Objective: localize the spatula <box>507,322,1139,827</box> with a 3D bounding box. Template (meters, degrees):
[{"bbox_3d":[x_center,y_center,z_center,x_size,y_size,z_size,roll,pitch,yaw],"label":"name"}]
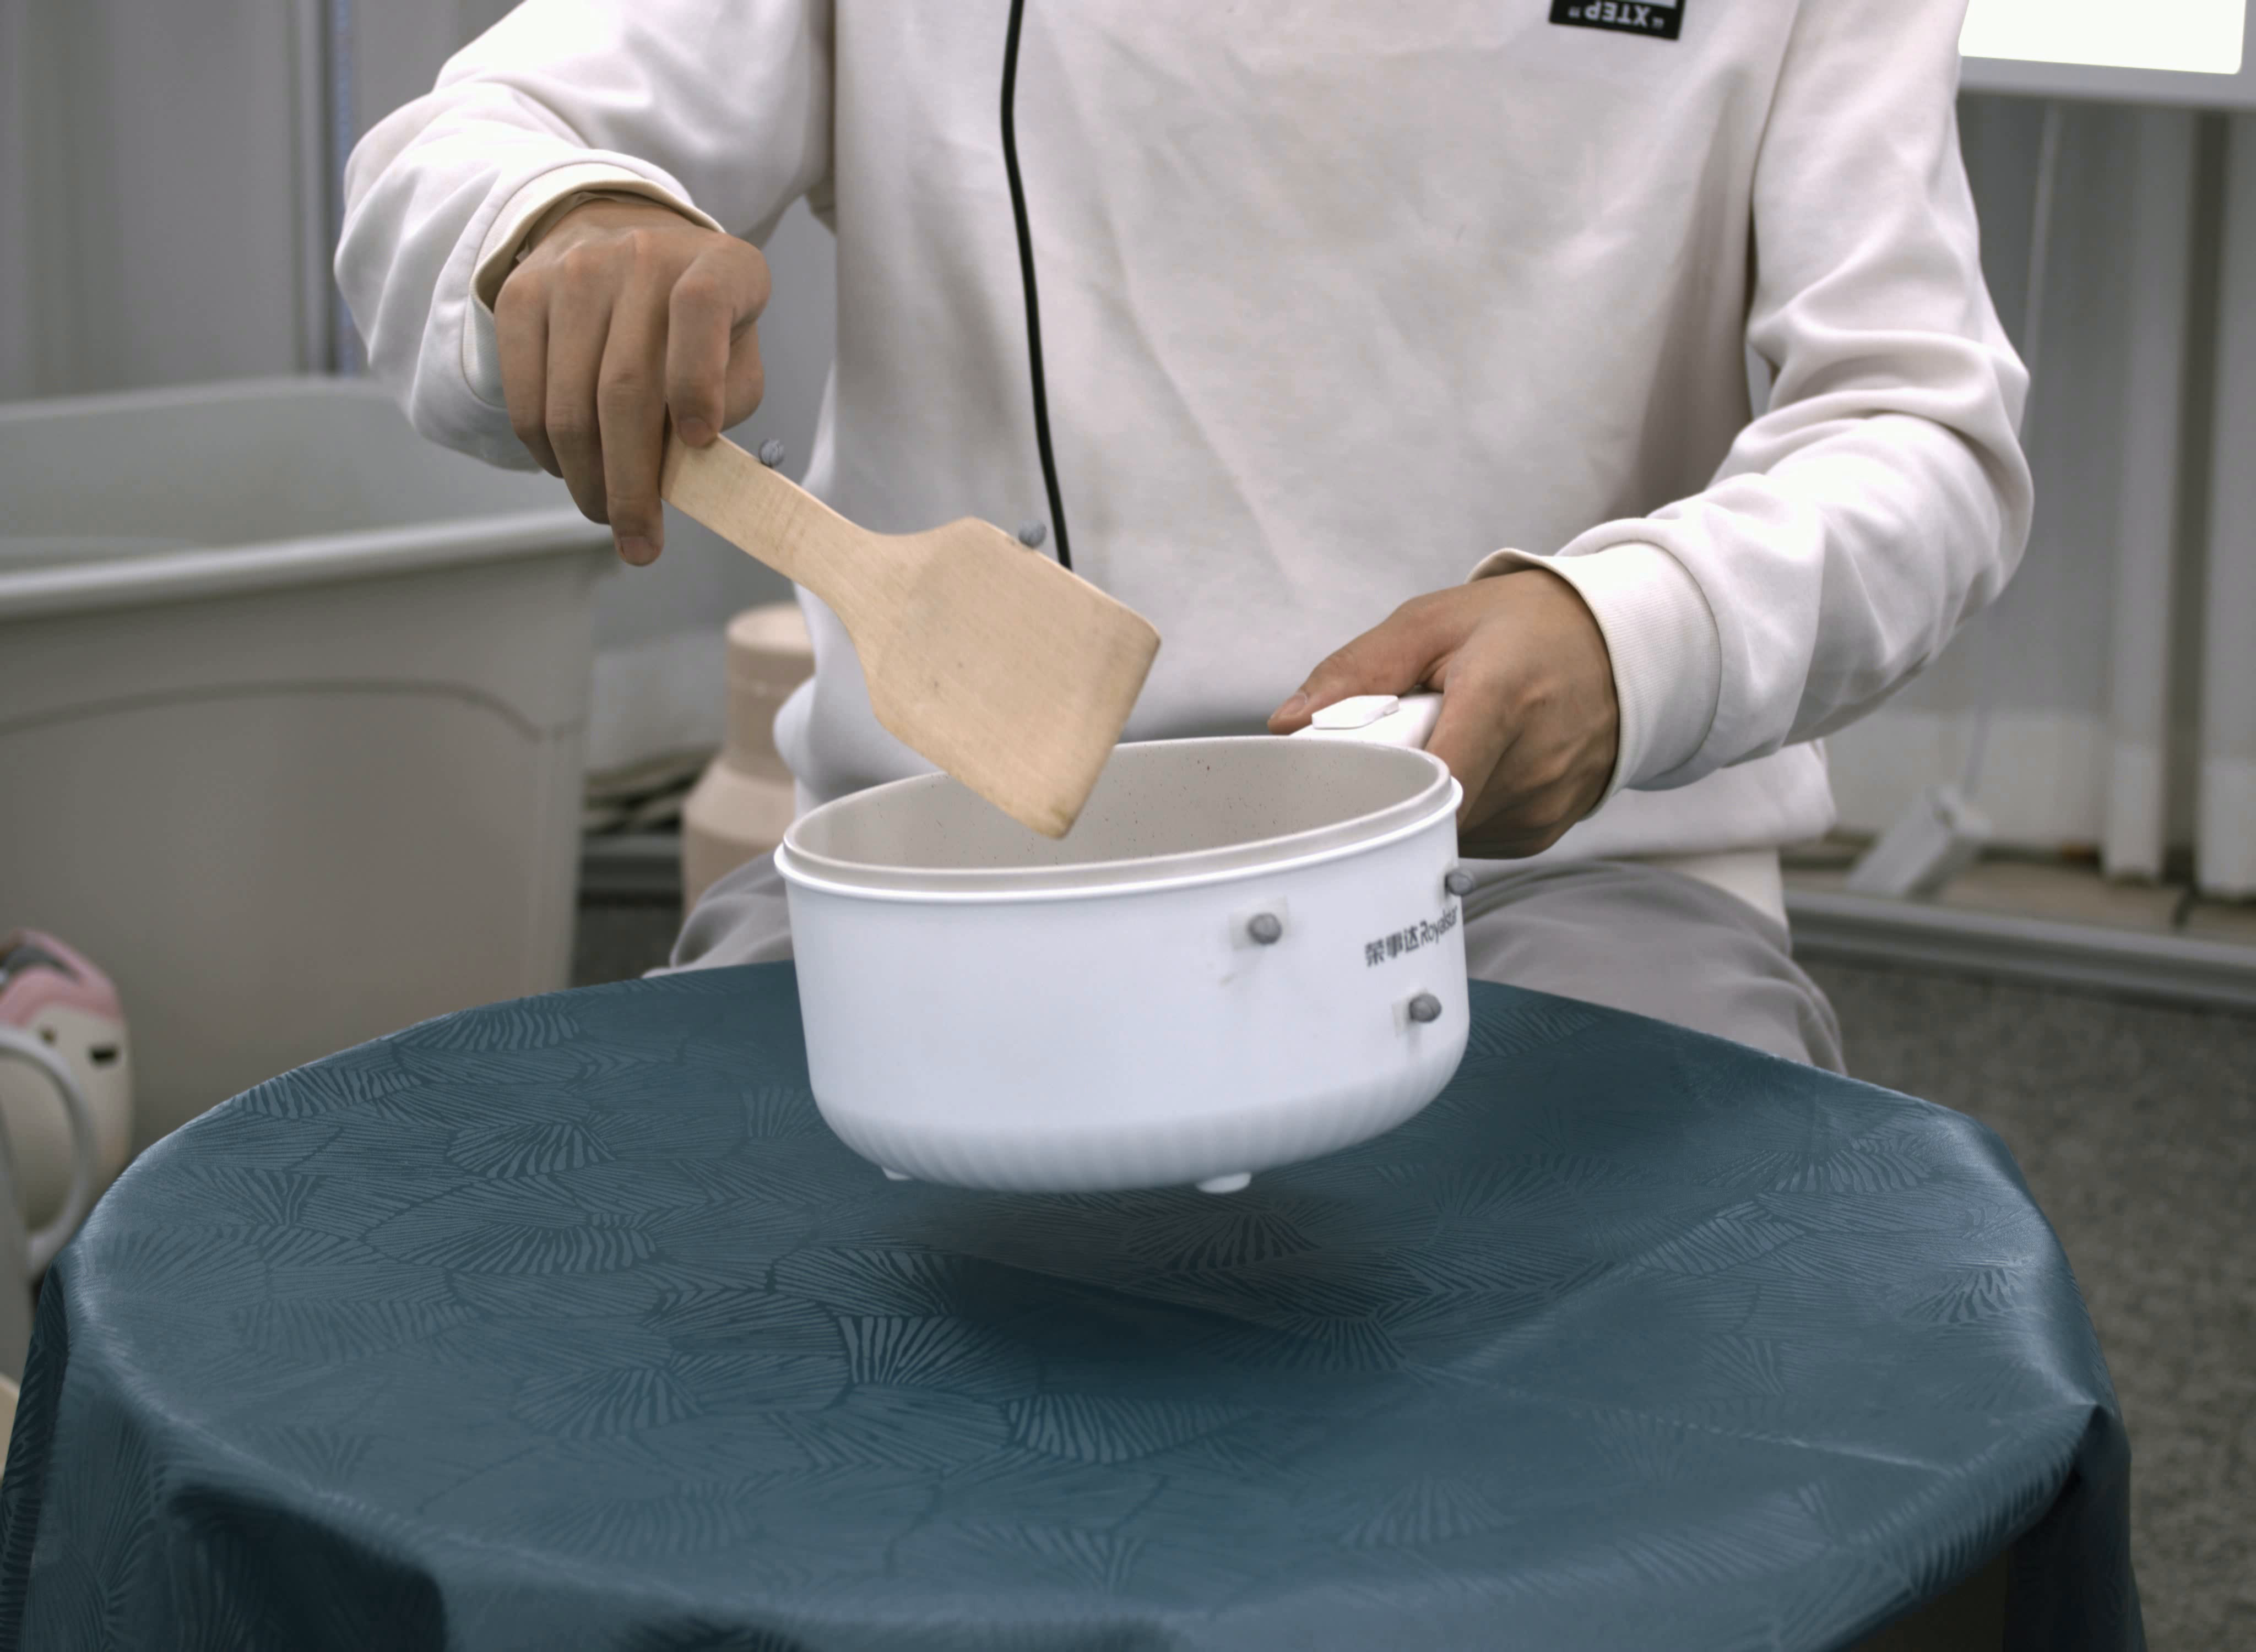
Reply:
[{"bbox_3d":[-0.103,-0.091,1.591,0.289,0.072,0.011,34,13,39],"label":"spatula"}]

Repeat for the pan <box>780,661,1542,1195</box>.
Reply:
[{"bbox_3d":[0.038,0.027,1.604,0.199,0.103,0.356,0,12,28],"label":"pan"}]
